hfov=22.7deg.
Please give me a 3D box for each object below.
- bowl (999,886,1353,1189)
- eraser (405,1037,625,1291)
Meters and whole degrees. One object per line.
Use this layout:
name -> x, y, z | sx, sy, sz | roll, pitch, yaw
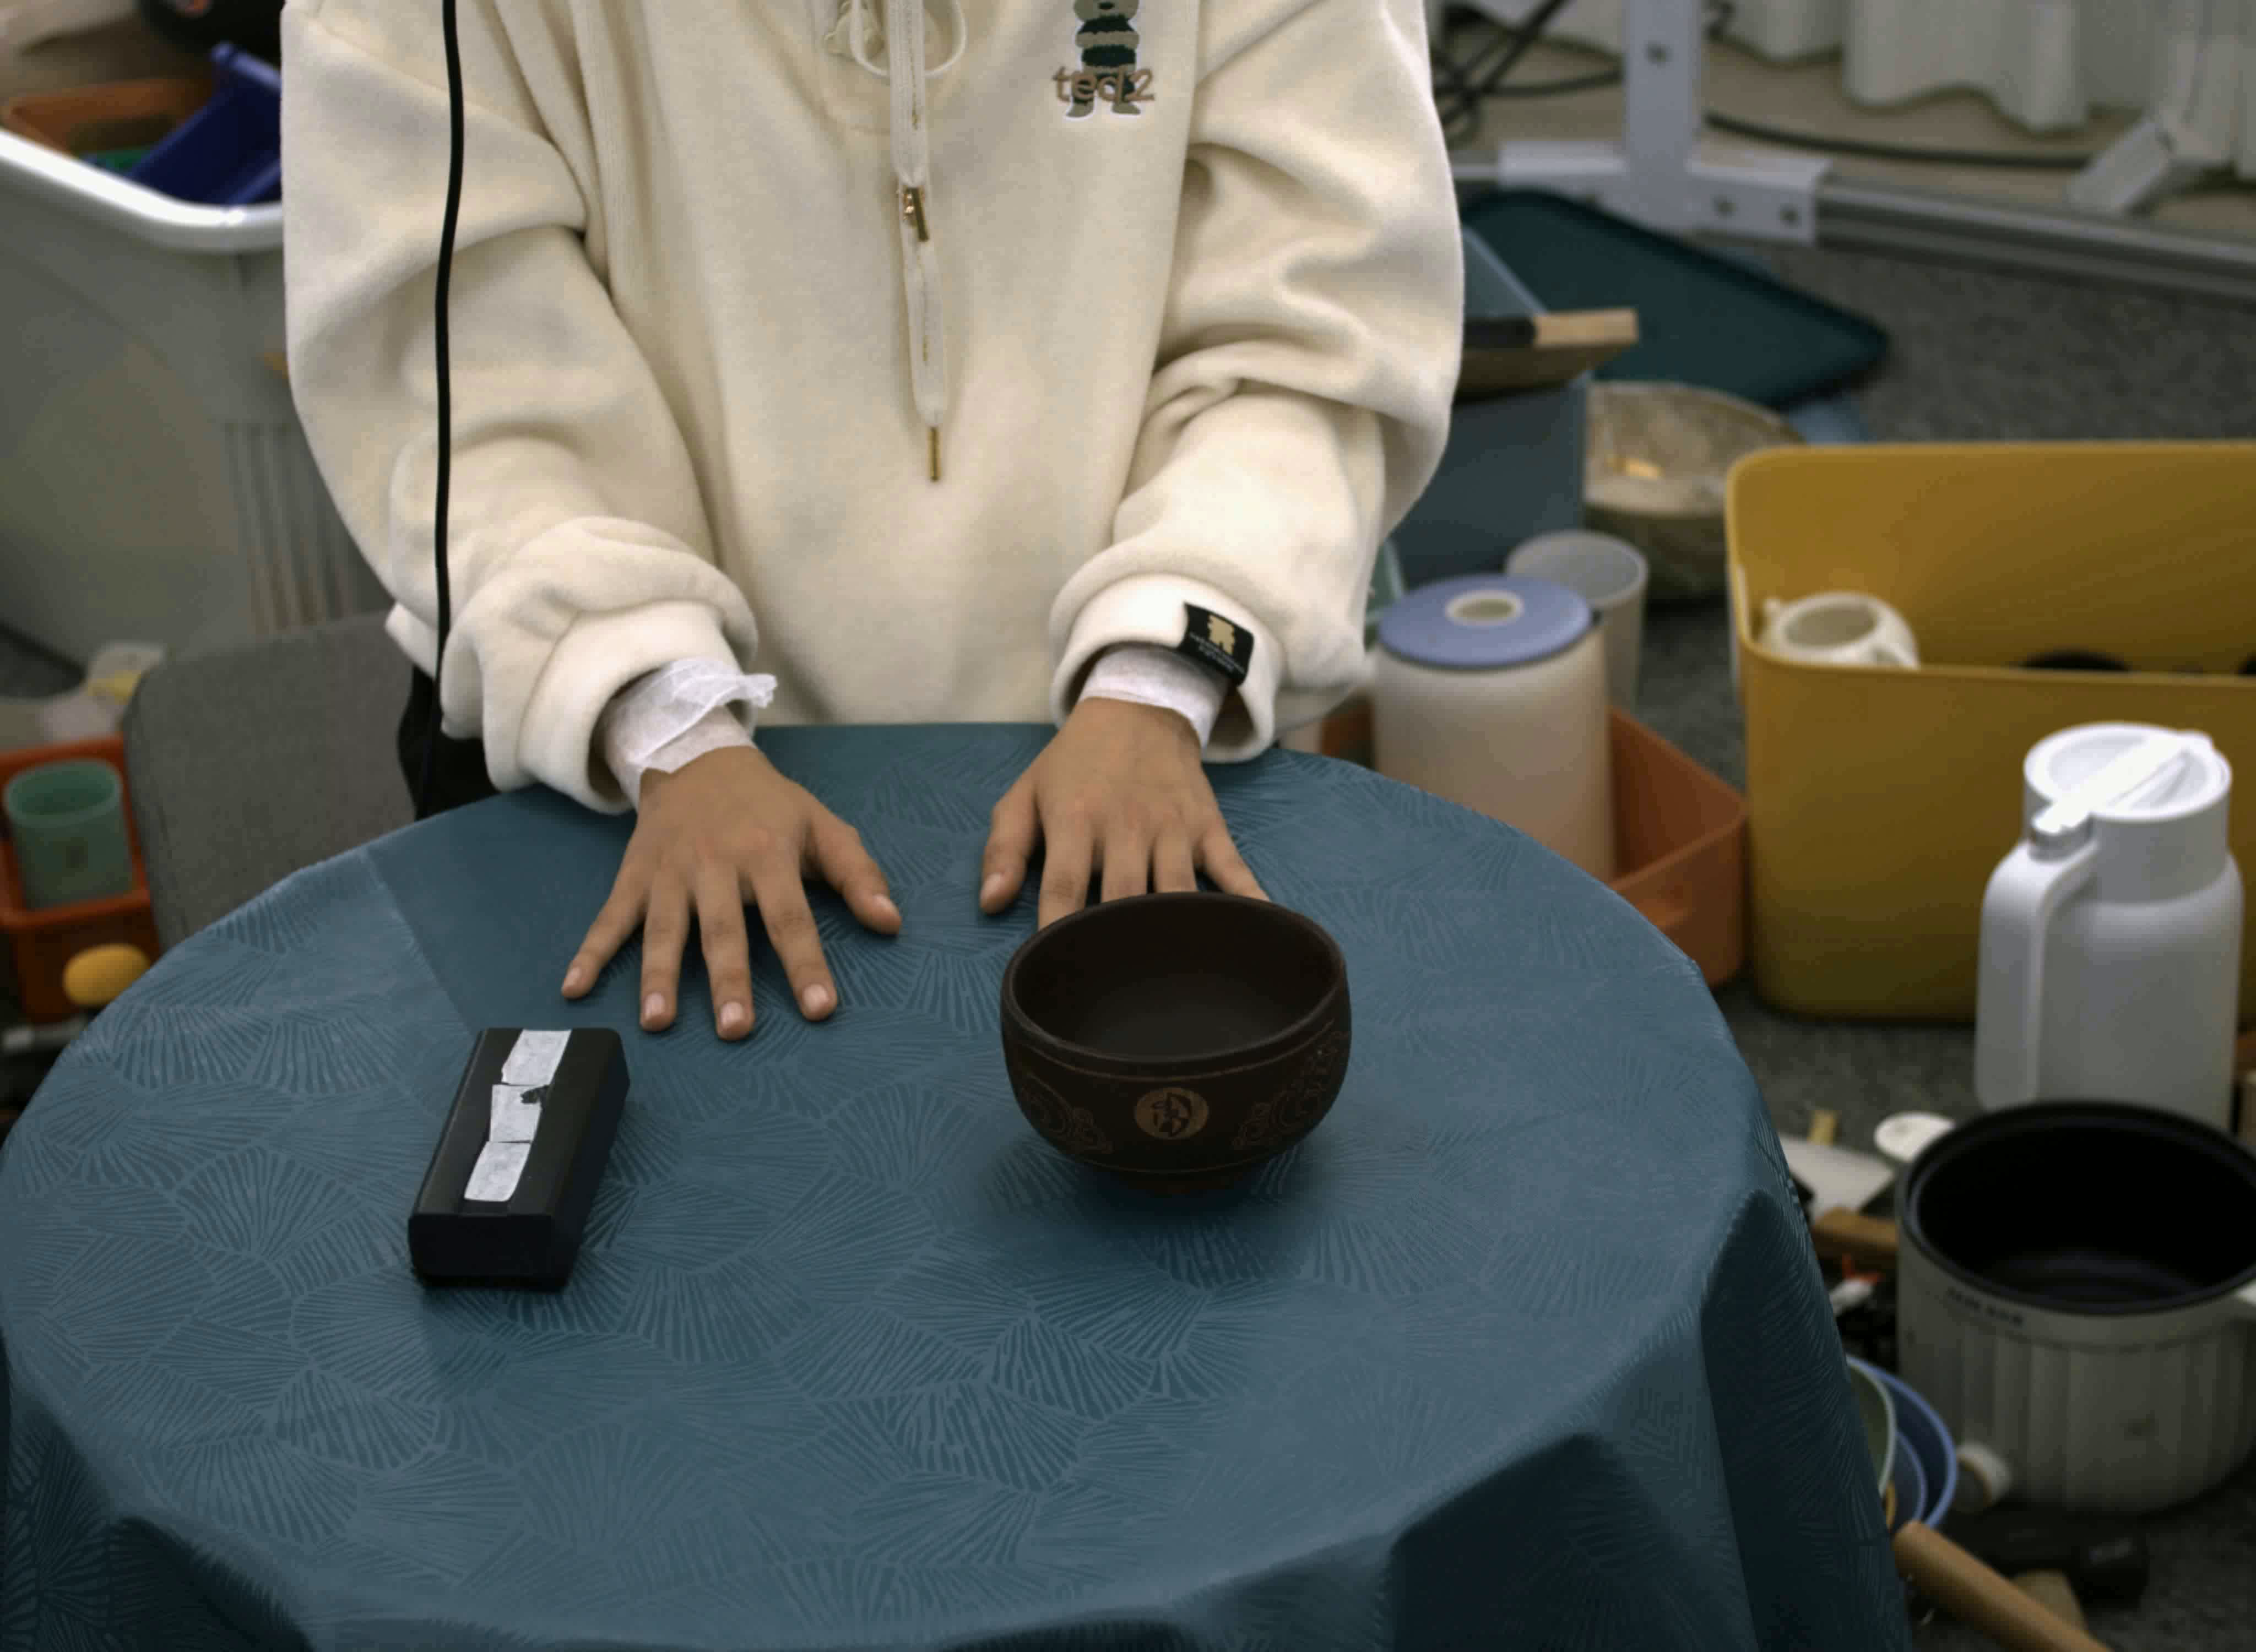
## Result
bowl -> 0.017, 0.077, 1.868 | 0.117, 0.069, 0.120 | -3, 26, 2
eraser -> -0.203, 0.112, 1.871 | 0.053, 0.030, 0.127 | 1, 26, 5
